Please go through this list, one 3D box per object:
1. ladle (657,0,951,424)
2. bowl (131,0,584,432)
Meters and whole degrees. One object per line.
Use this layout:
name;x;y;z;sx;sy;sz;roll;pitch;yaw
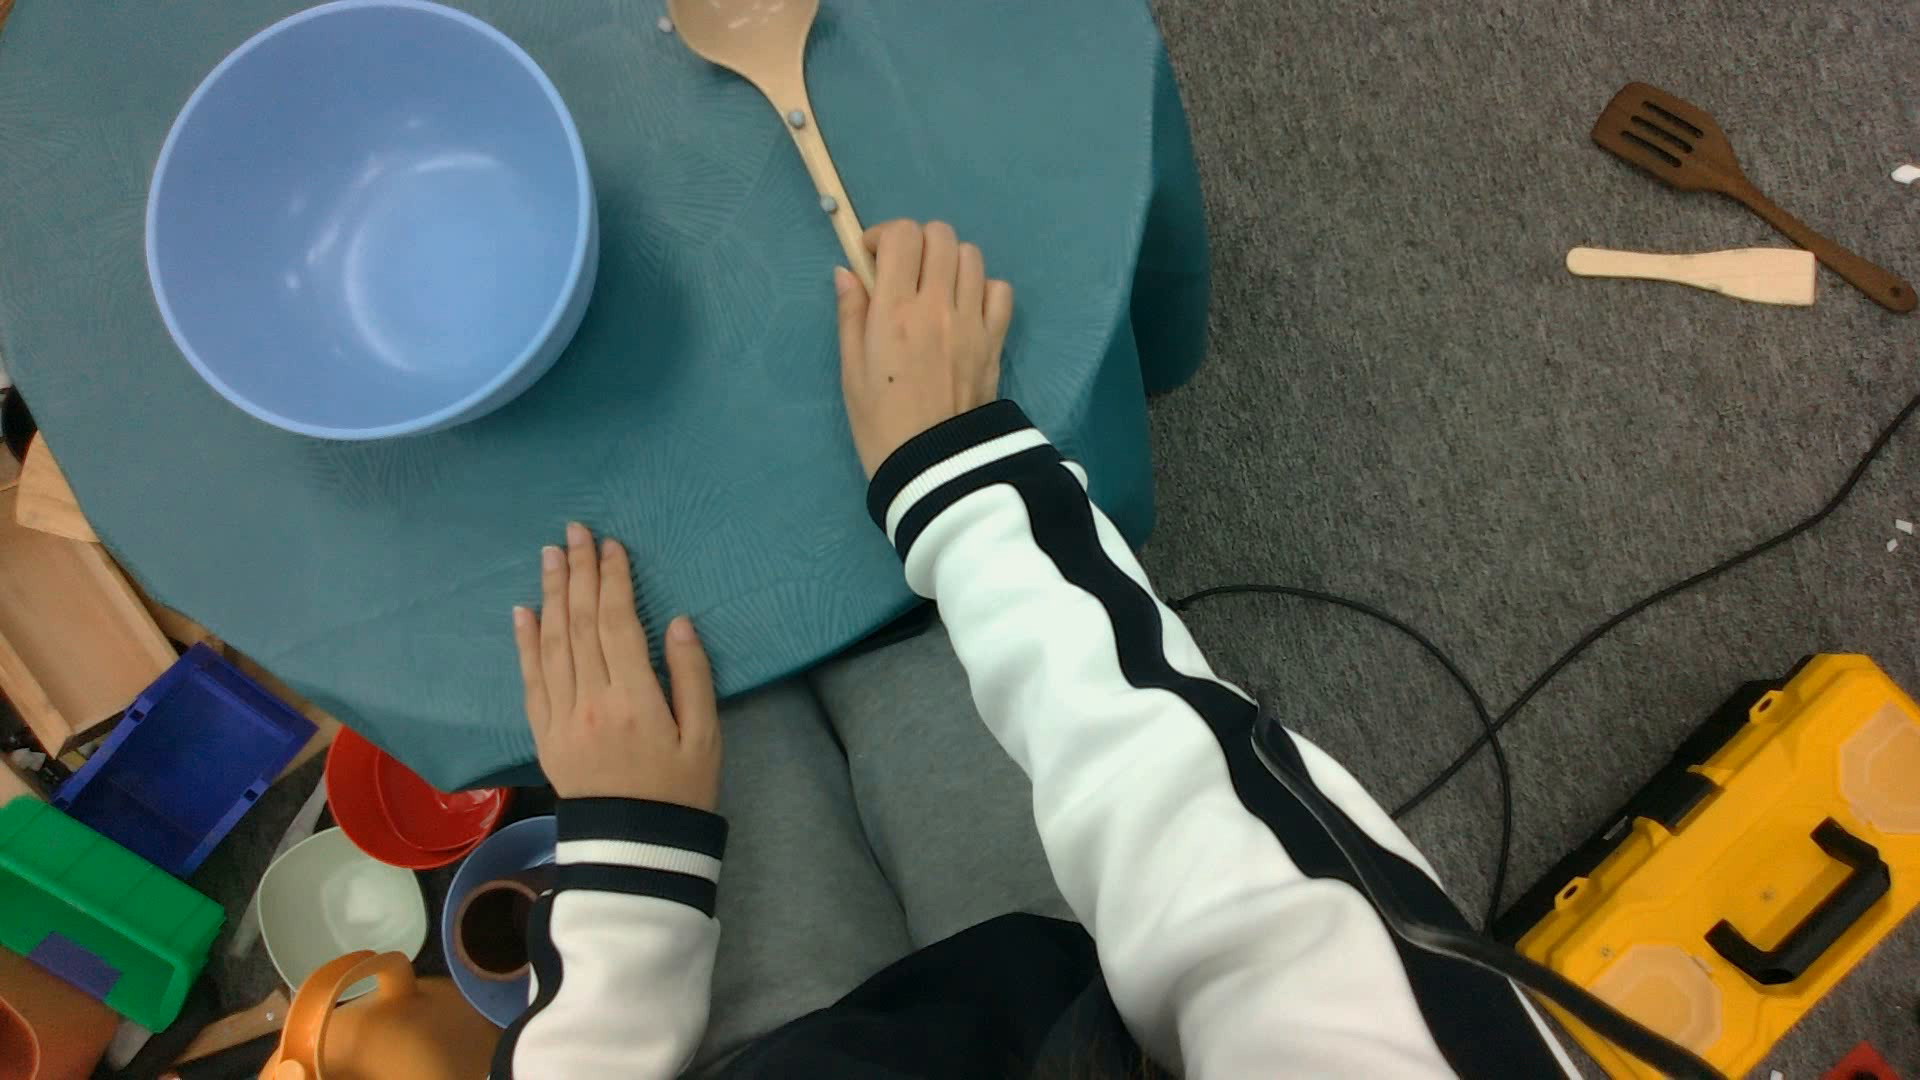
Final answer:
ladle;-0.066;-0.174;0.643;0.072;0.073;0.254;-26;82;-2
bowl;-0.259;-0.137;0.637;0.196;0.095;0.197;-1;82;4
